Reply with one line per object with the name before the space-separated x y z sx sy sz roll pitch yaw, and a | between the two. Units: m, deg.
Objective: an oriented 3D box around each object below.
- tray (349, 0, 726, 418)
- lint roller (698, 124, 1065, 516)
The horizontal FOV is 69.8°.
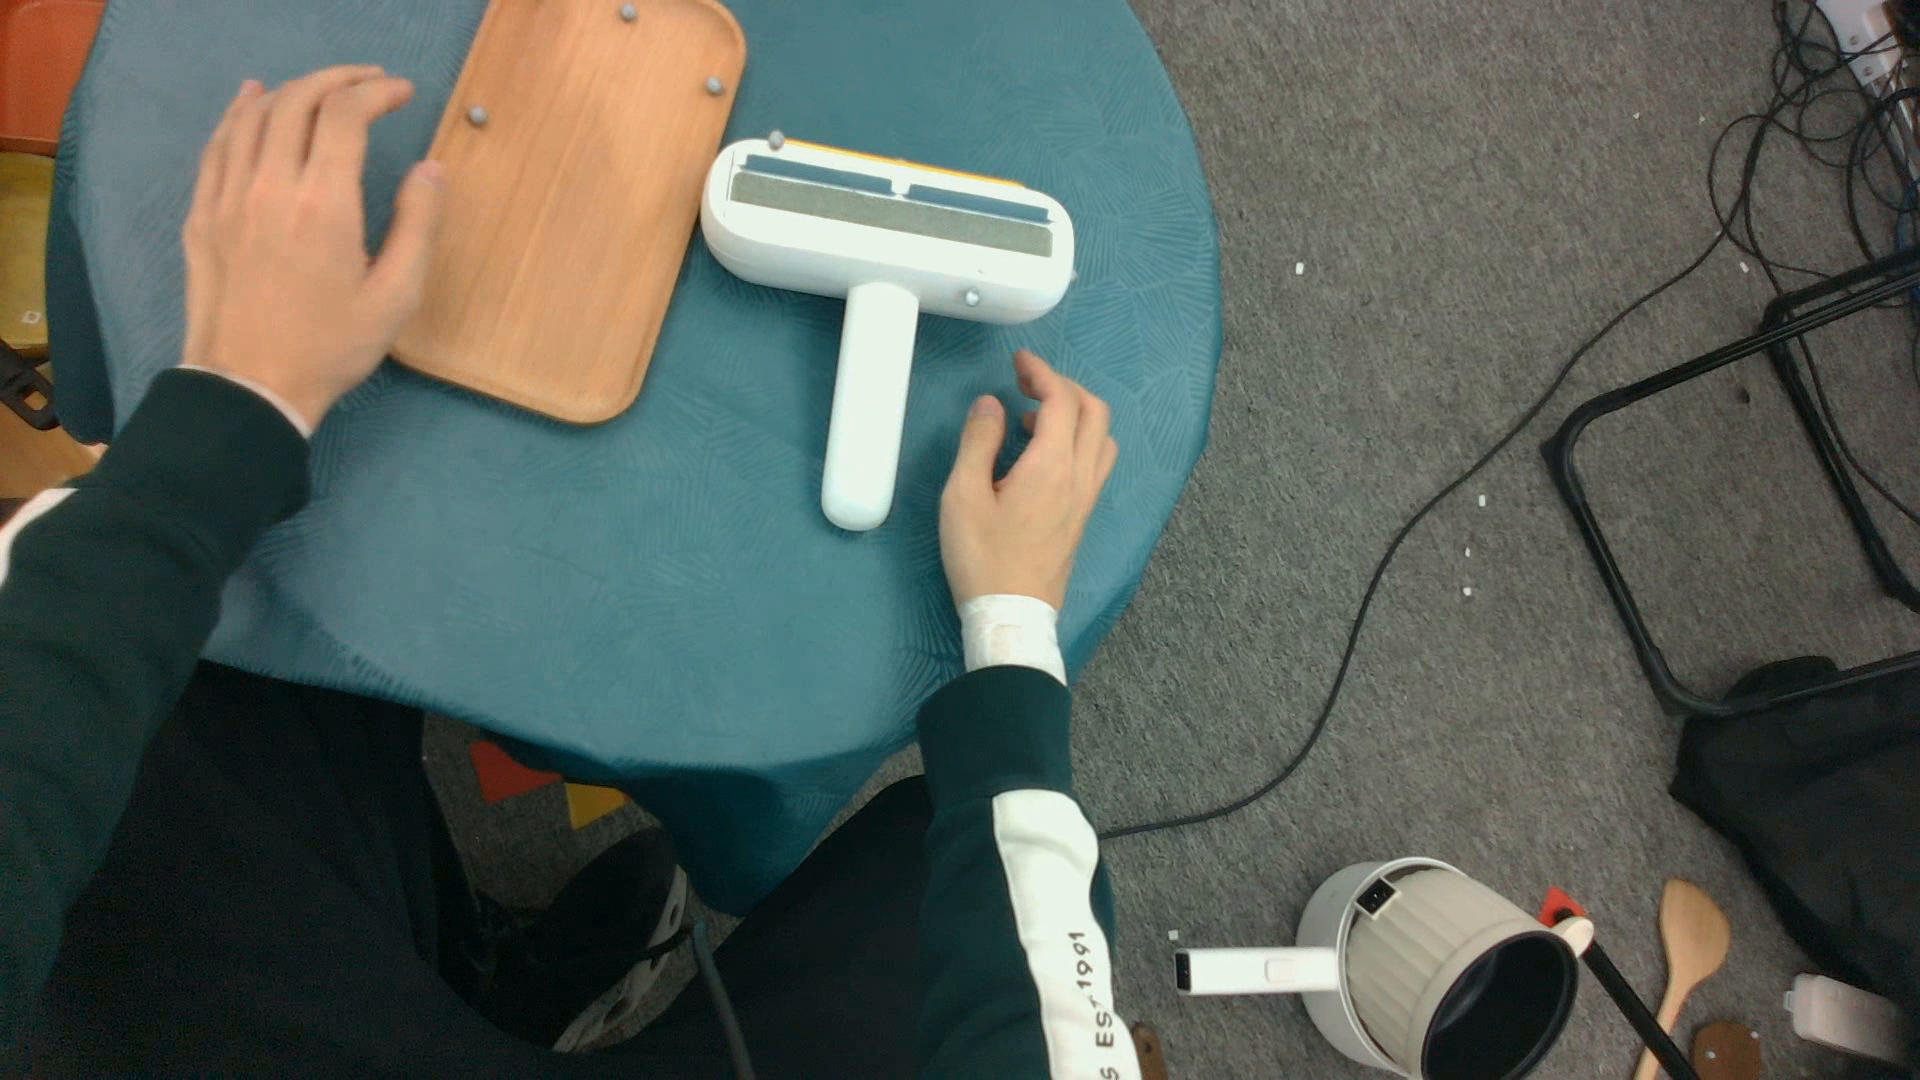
tray | -0.206 -0.186 0.693 0.130 0.023 0.251 18 71 -15
lint roller | -0.054 -0.107 0.727 0.193 0.074 0.192 13 87 -11
